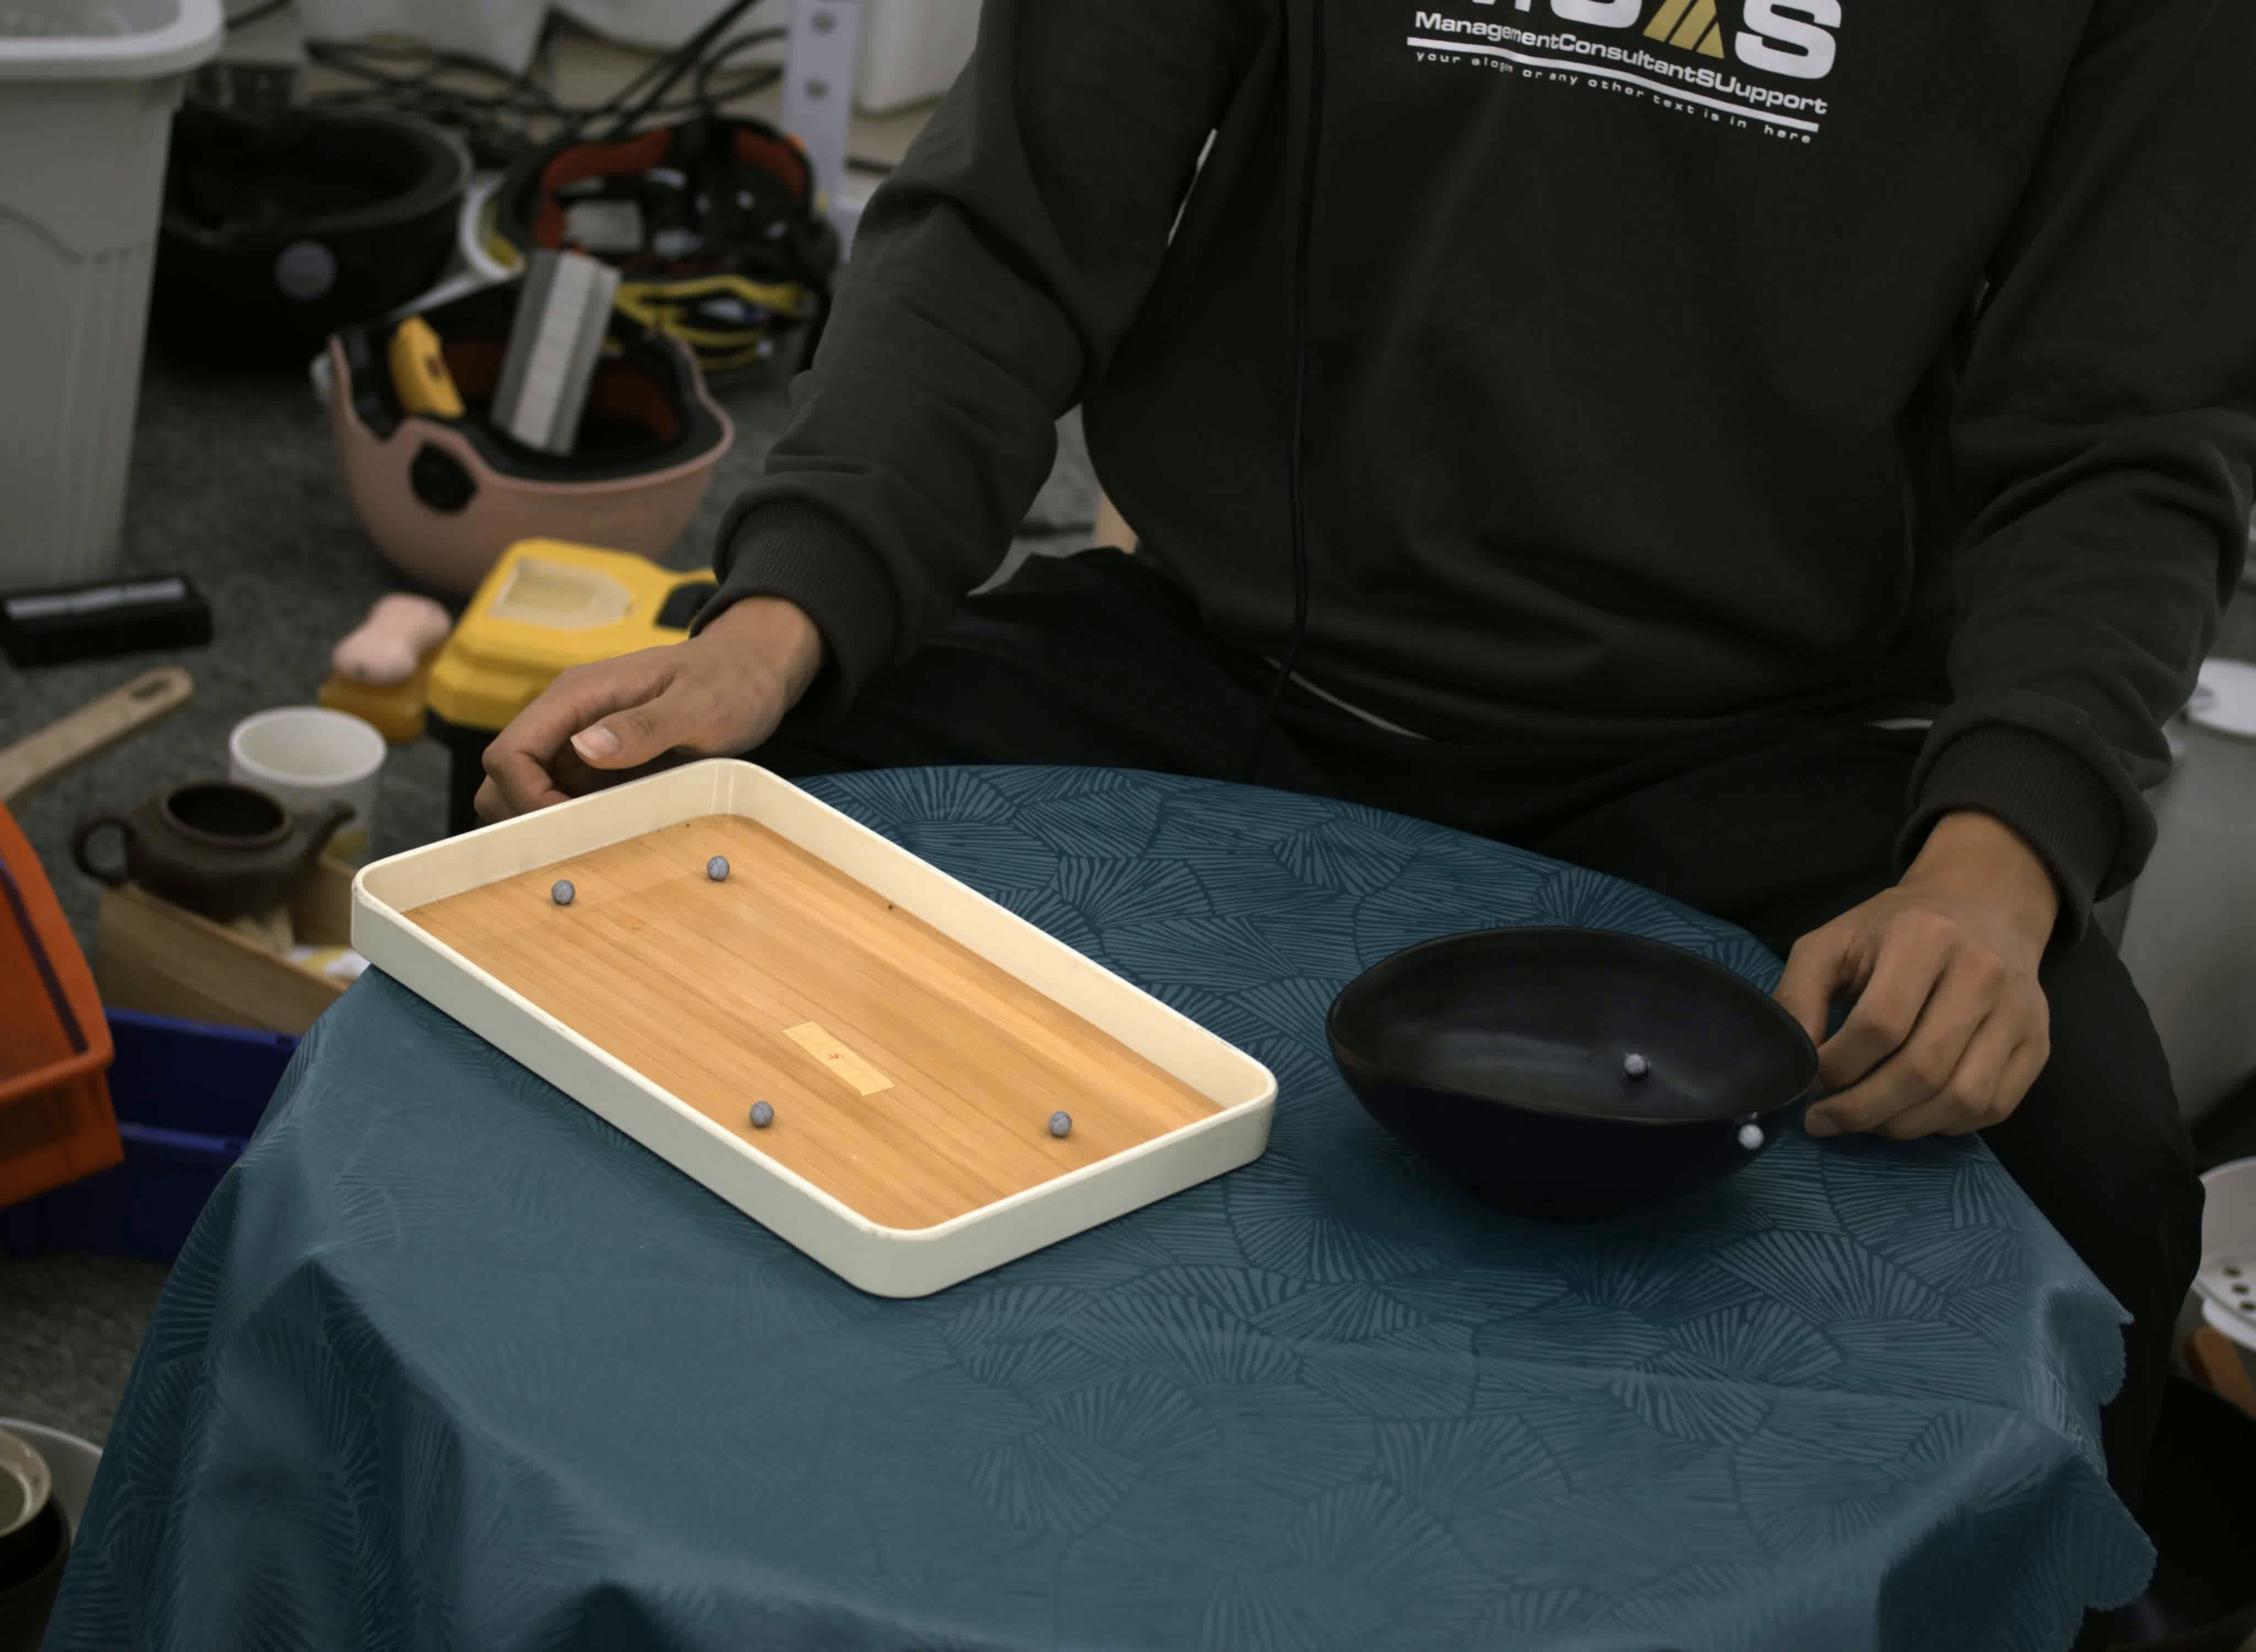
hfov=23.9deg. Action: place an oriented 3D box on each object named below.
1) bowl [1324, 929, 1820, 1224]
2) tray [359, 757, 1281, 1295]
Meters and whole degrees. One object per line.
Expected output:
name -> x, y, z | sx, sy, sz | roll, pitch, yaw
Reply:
bowl -> 0.150, 0.095, 1.833 | 0.170, 0.066, 0.138 | 5, 25, 0
tray -> -0.111, 0.065, 1.867 | 0.190, 0.027, 0.302 | -19, 37, -41
